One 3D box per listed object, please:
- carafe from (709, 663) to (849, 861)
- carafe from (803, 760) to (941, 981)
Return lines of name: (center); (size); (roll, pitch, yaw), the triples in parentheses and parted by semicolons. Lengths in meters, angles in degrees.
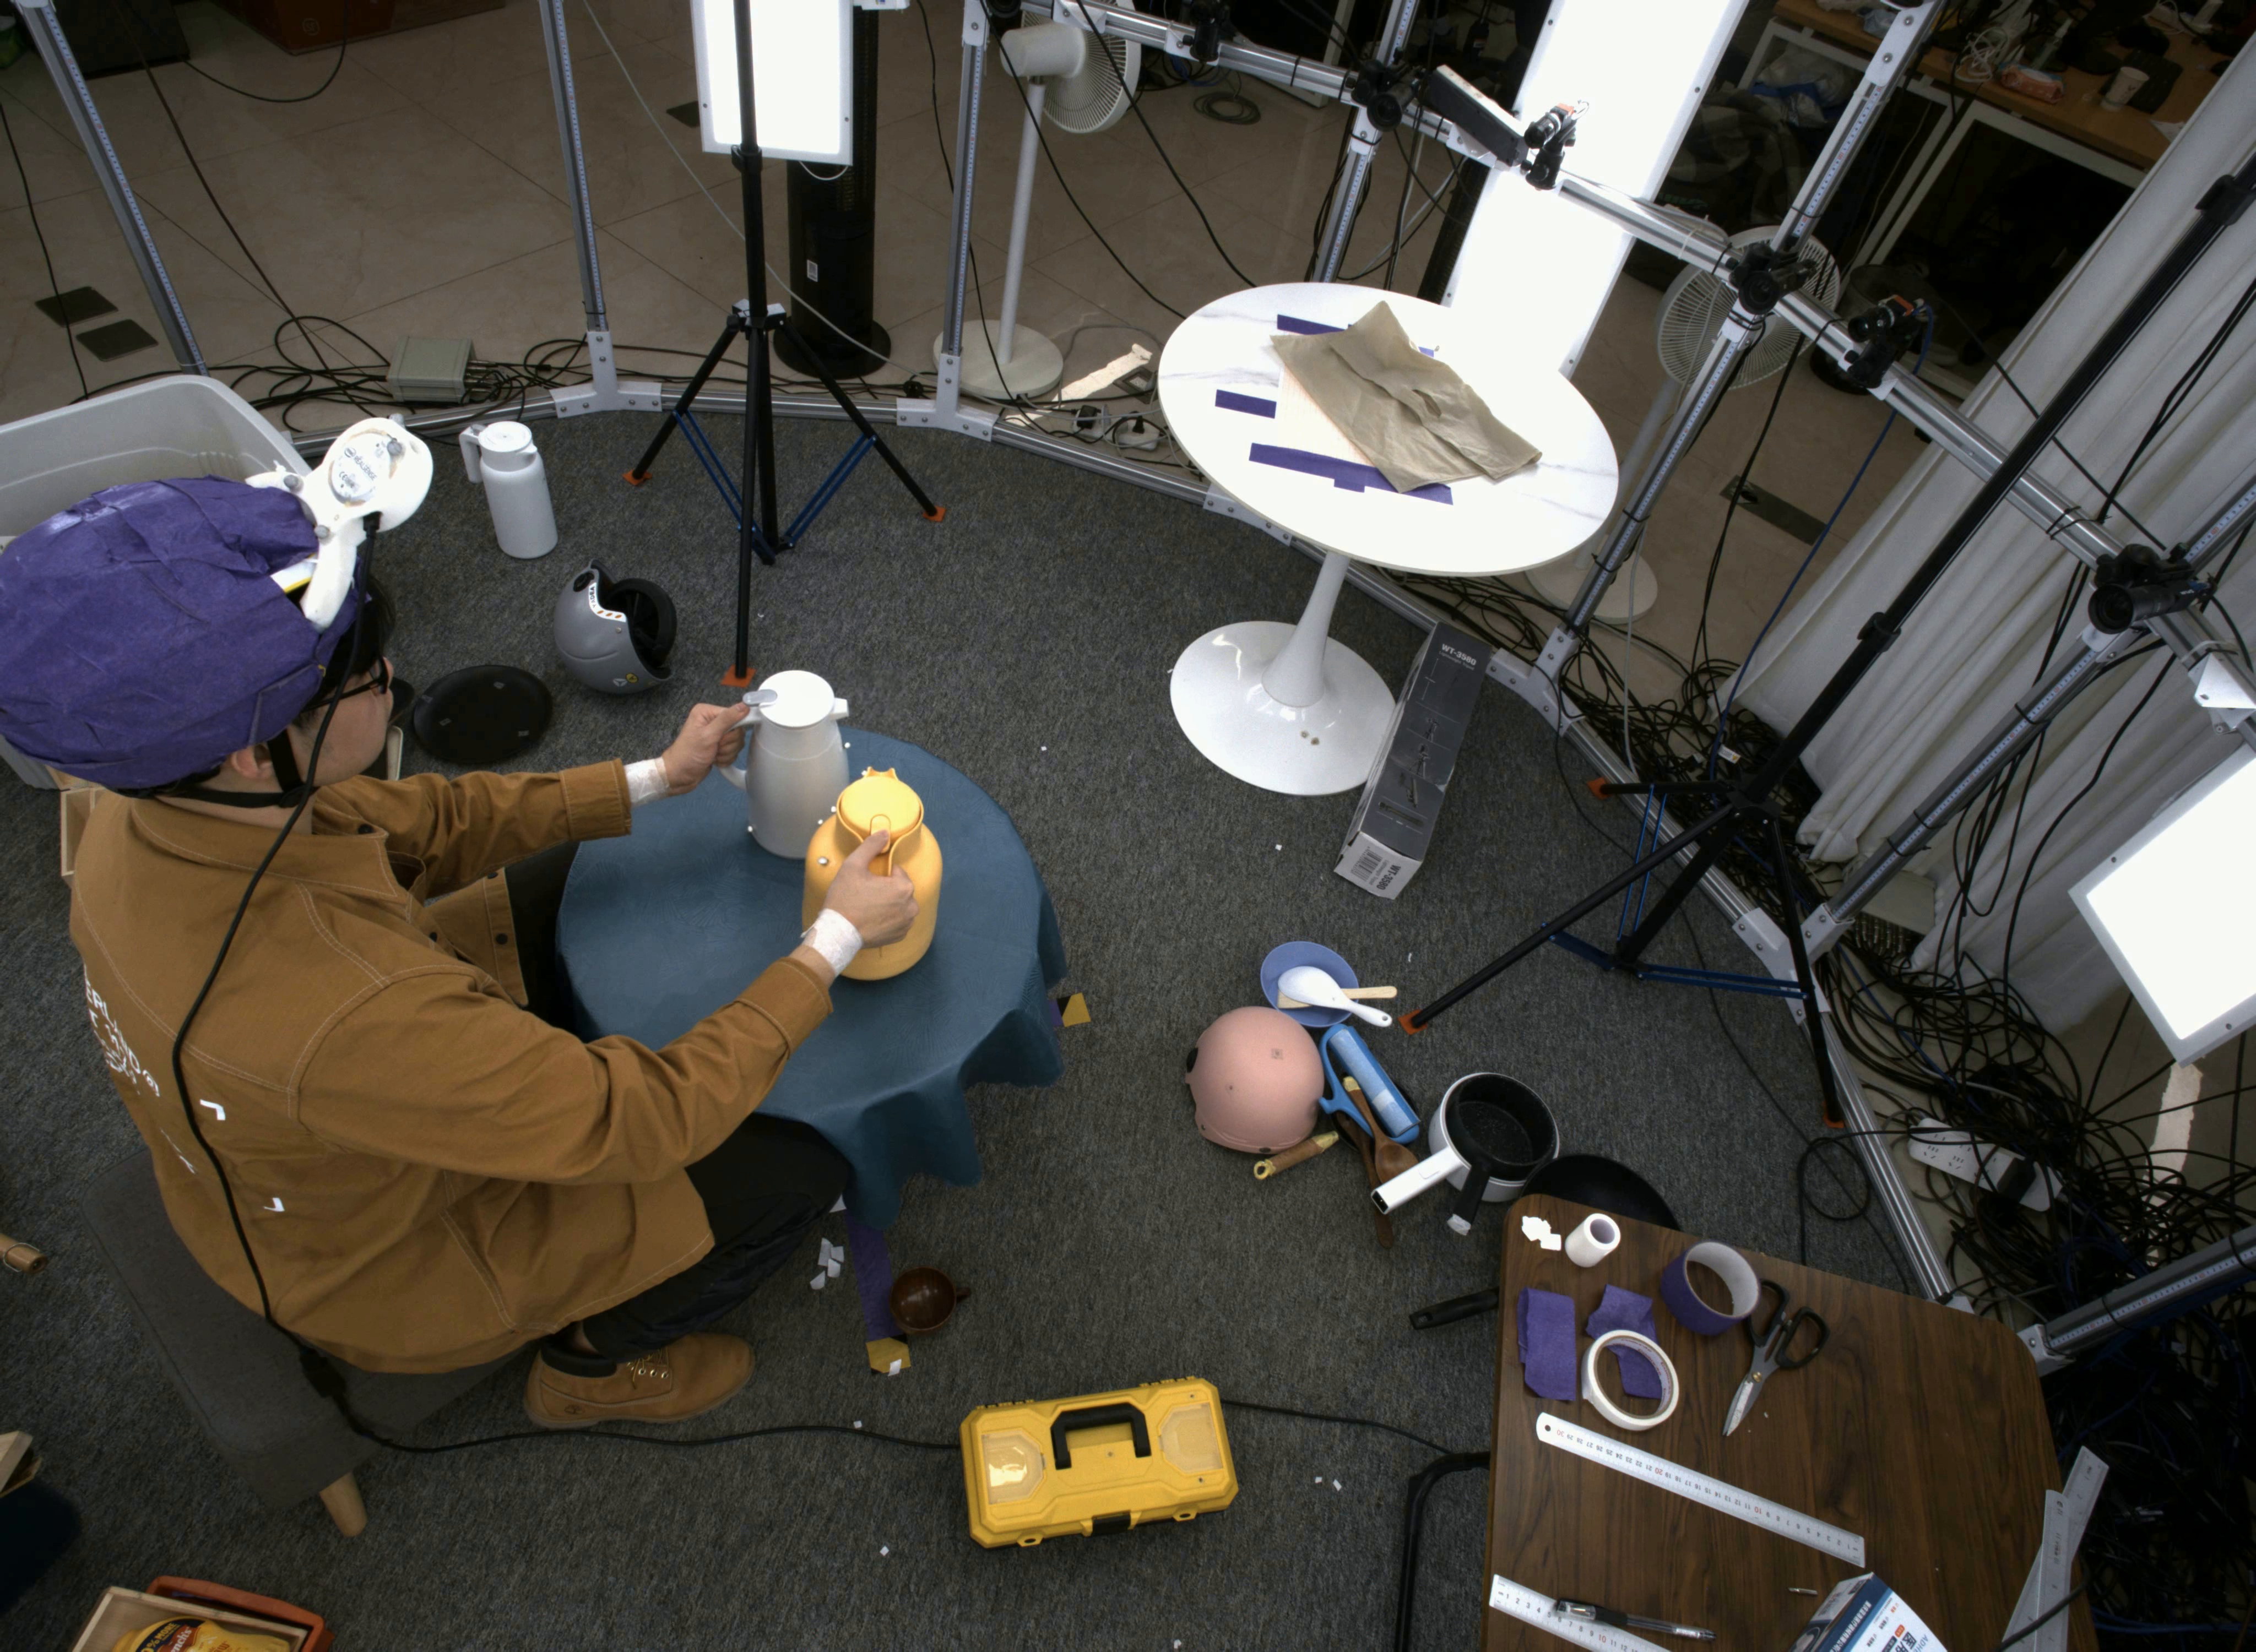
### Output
carafe: (-0.435, -0.084, 1.620); (0.168, 0.254, 0.129); (-4, 53, -14)
carafe: (-0.303, 0.066, 1.528); (0.163, 0.266, 0.198); (4, 47, -10)
